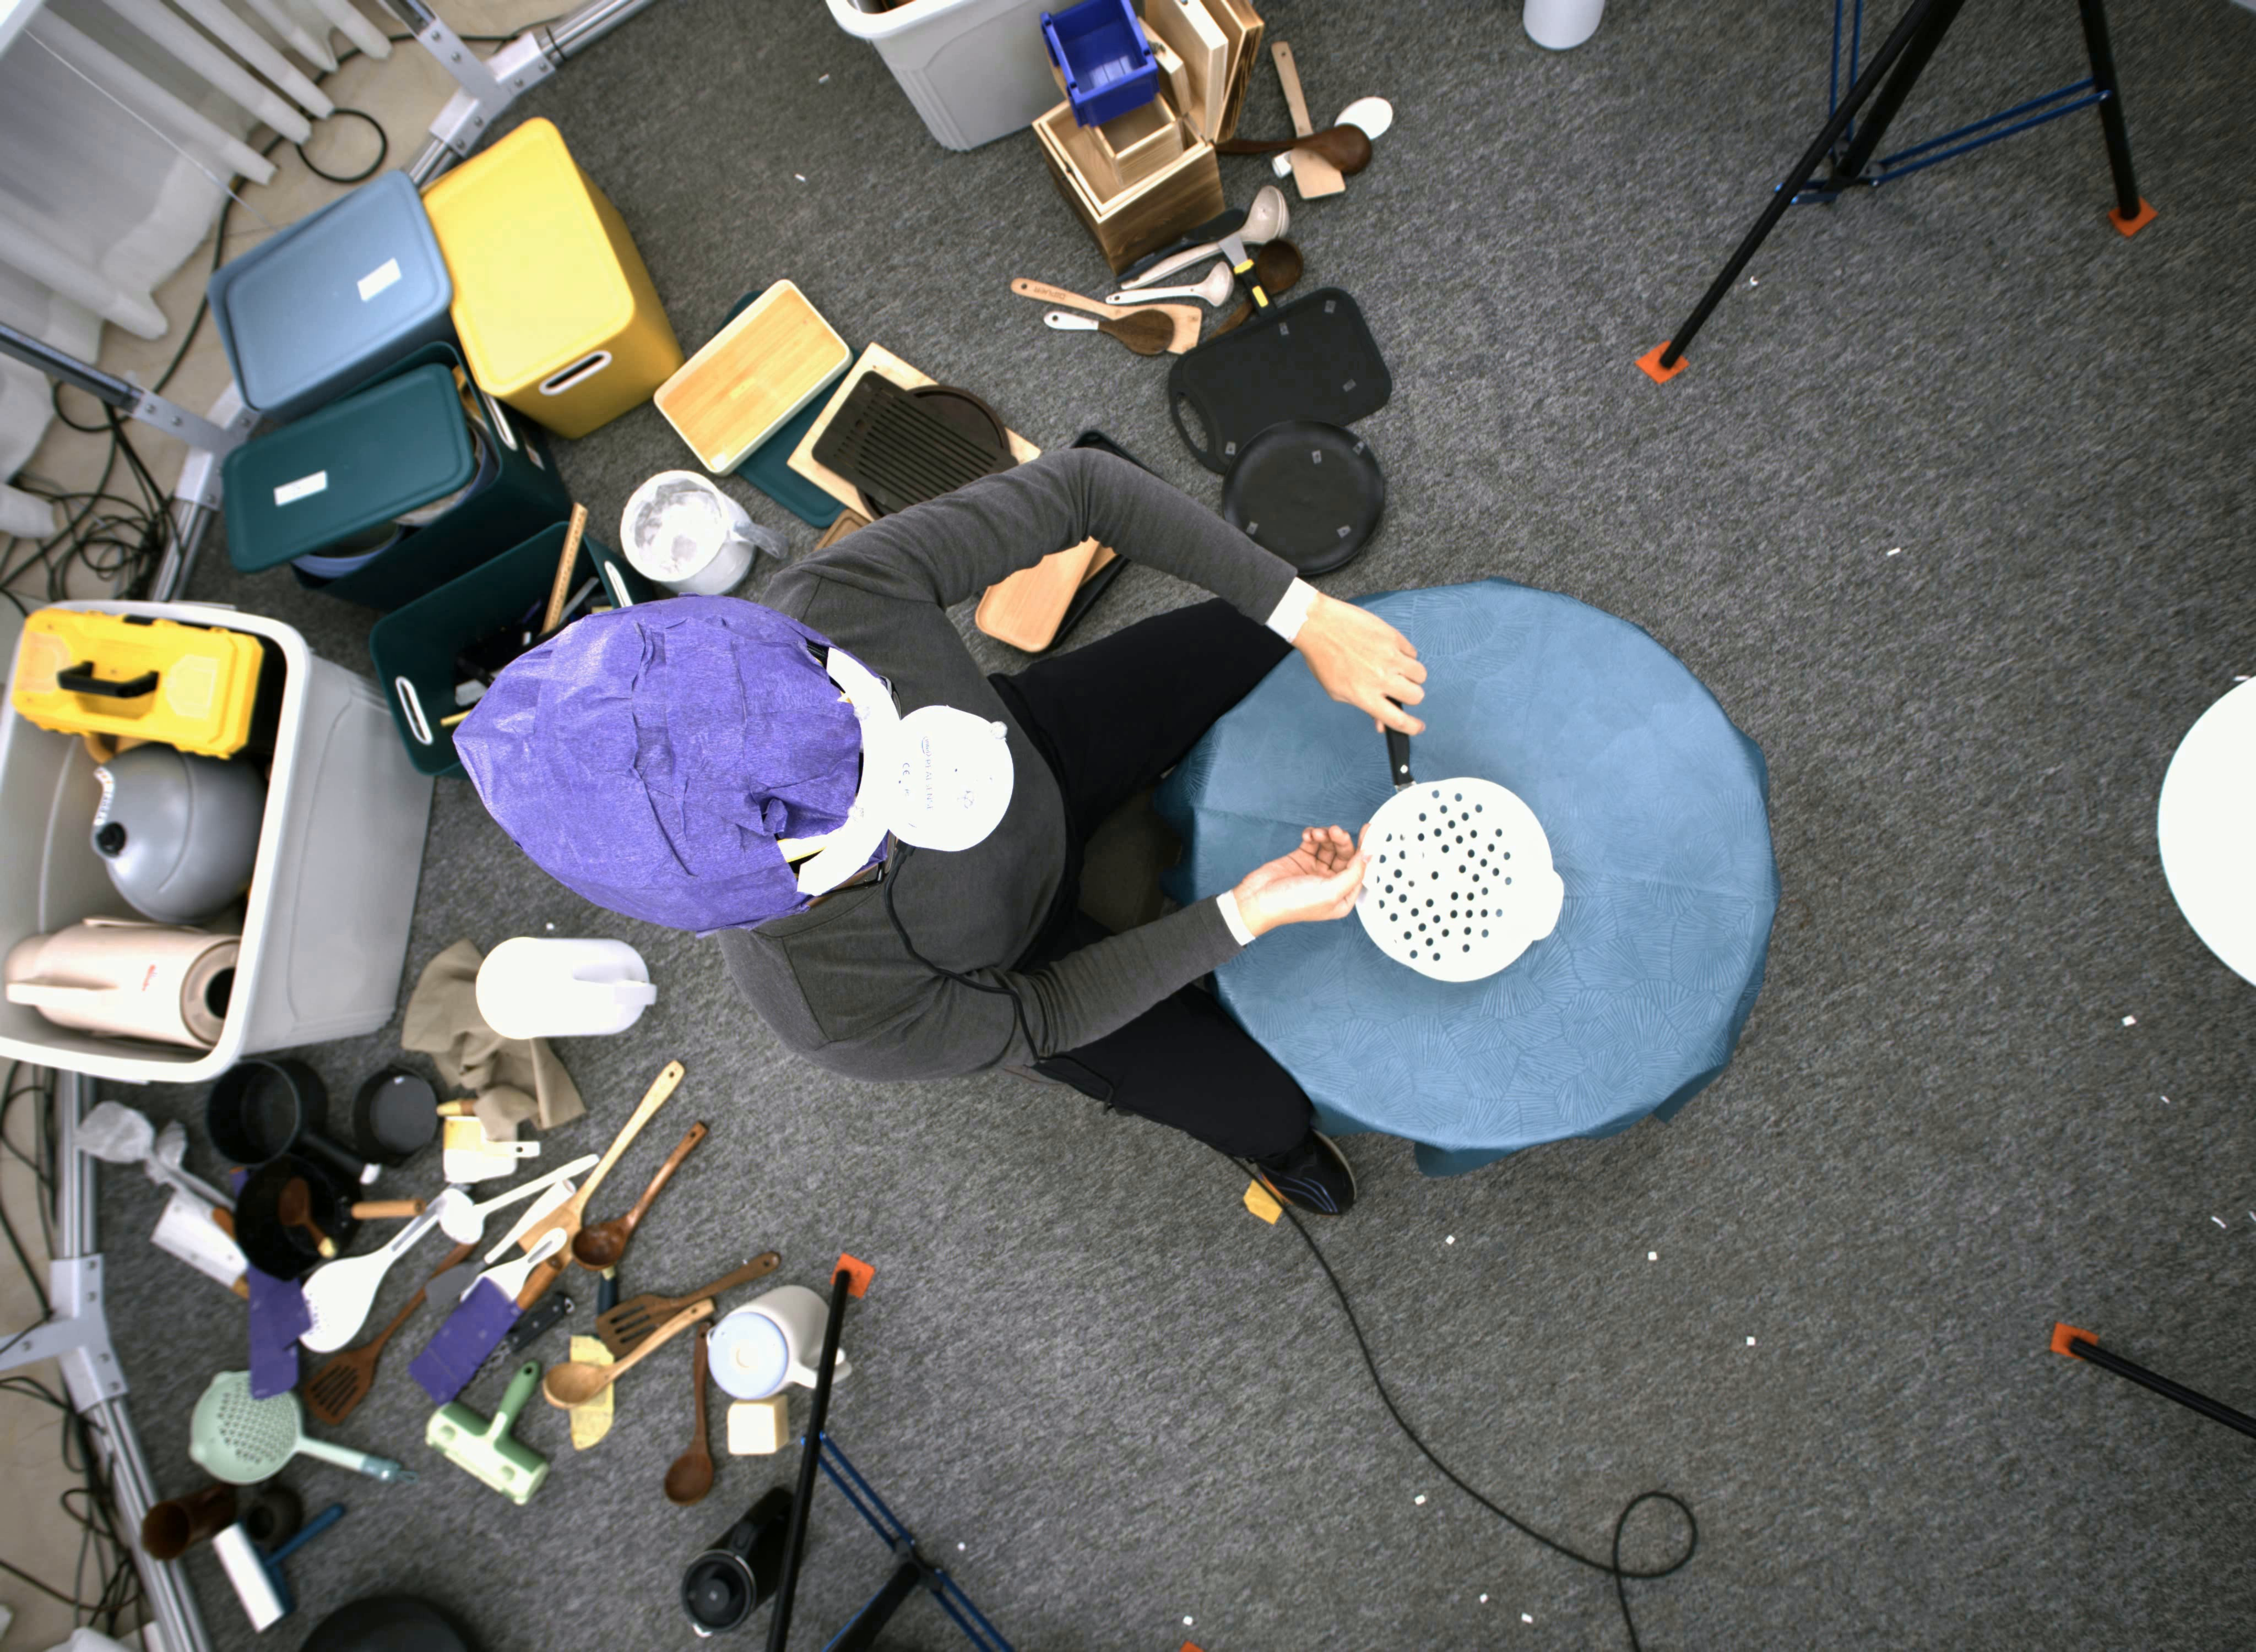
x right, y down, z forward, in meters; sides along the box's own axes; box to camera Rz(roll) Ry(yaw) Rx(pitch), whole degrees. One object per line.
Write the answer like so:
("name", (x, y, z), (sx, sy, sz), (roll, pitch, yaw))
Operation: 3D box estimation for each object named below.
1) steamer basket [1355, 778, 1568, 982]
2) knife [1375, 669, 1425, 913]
("steamer basket", (0.327, 0.051, 1.385), (0.231, 0.069, 0.202), (16, 91, -14))
("knife", (0.263, -0.034, 1.324), (0.024, 0.016, 0.239), (-12, 98, -19))
